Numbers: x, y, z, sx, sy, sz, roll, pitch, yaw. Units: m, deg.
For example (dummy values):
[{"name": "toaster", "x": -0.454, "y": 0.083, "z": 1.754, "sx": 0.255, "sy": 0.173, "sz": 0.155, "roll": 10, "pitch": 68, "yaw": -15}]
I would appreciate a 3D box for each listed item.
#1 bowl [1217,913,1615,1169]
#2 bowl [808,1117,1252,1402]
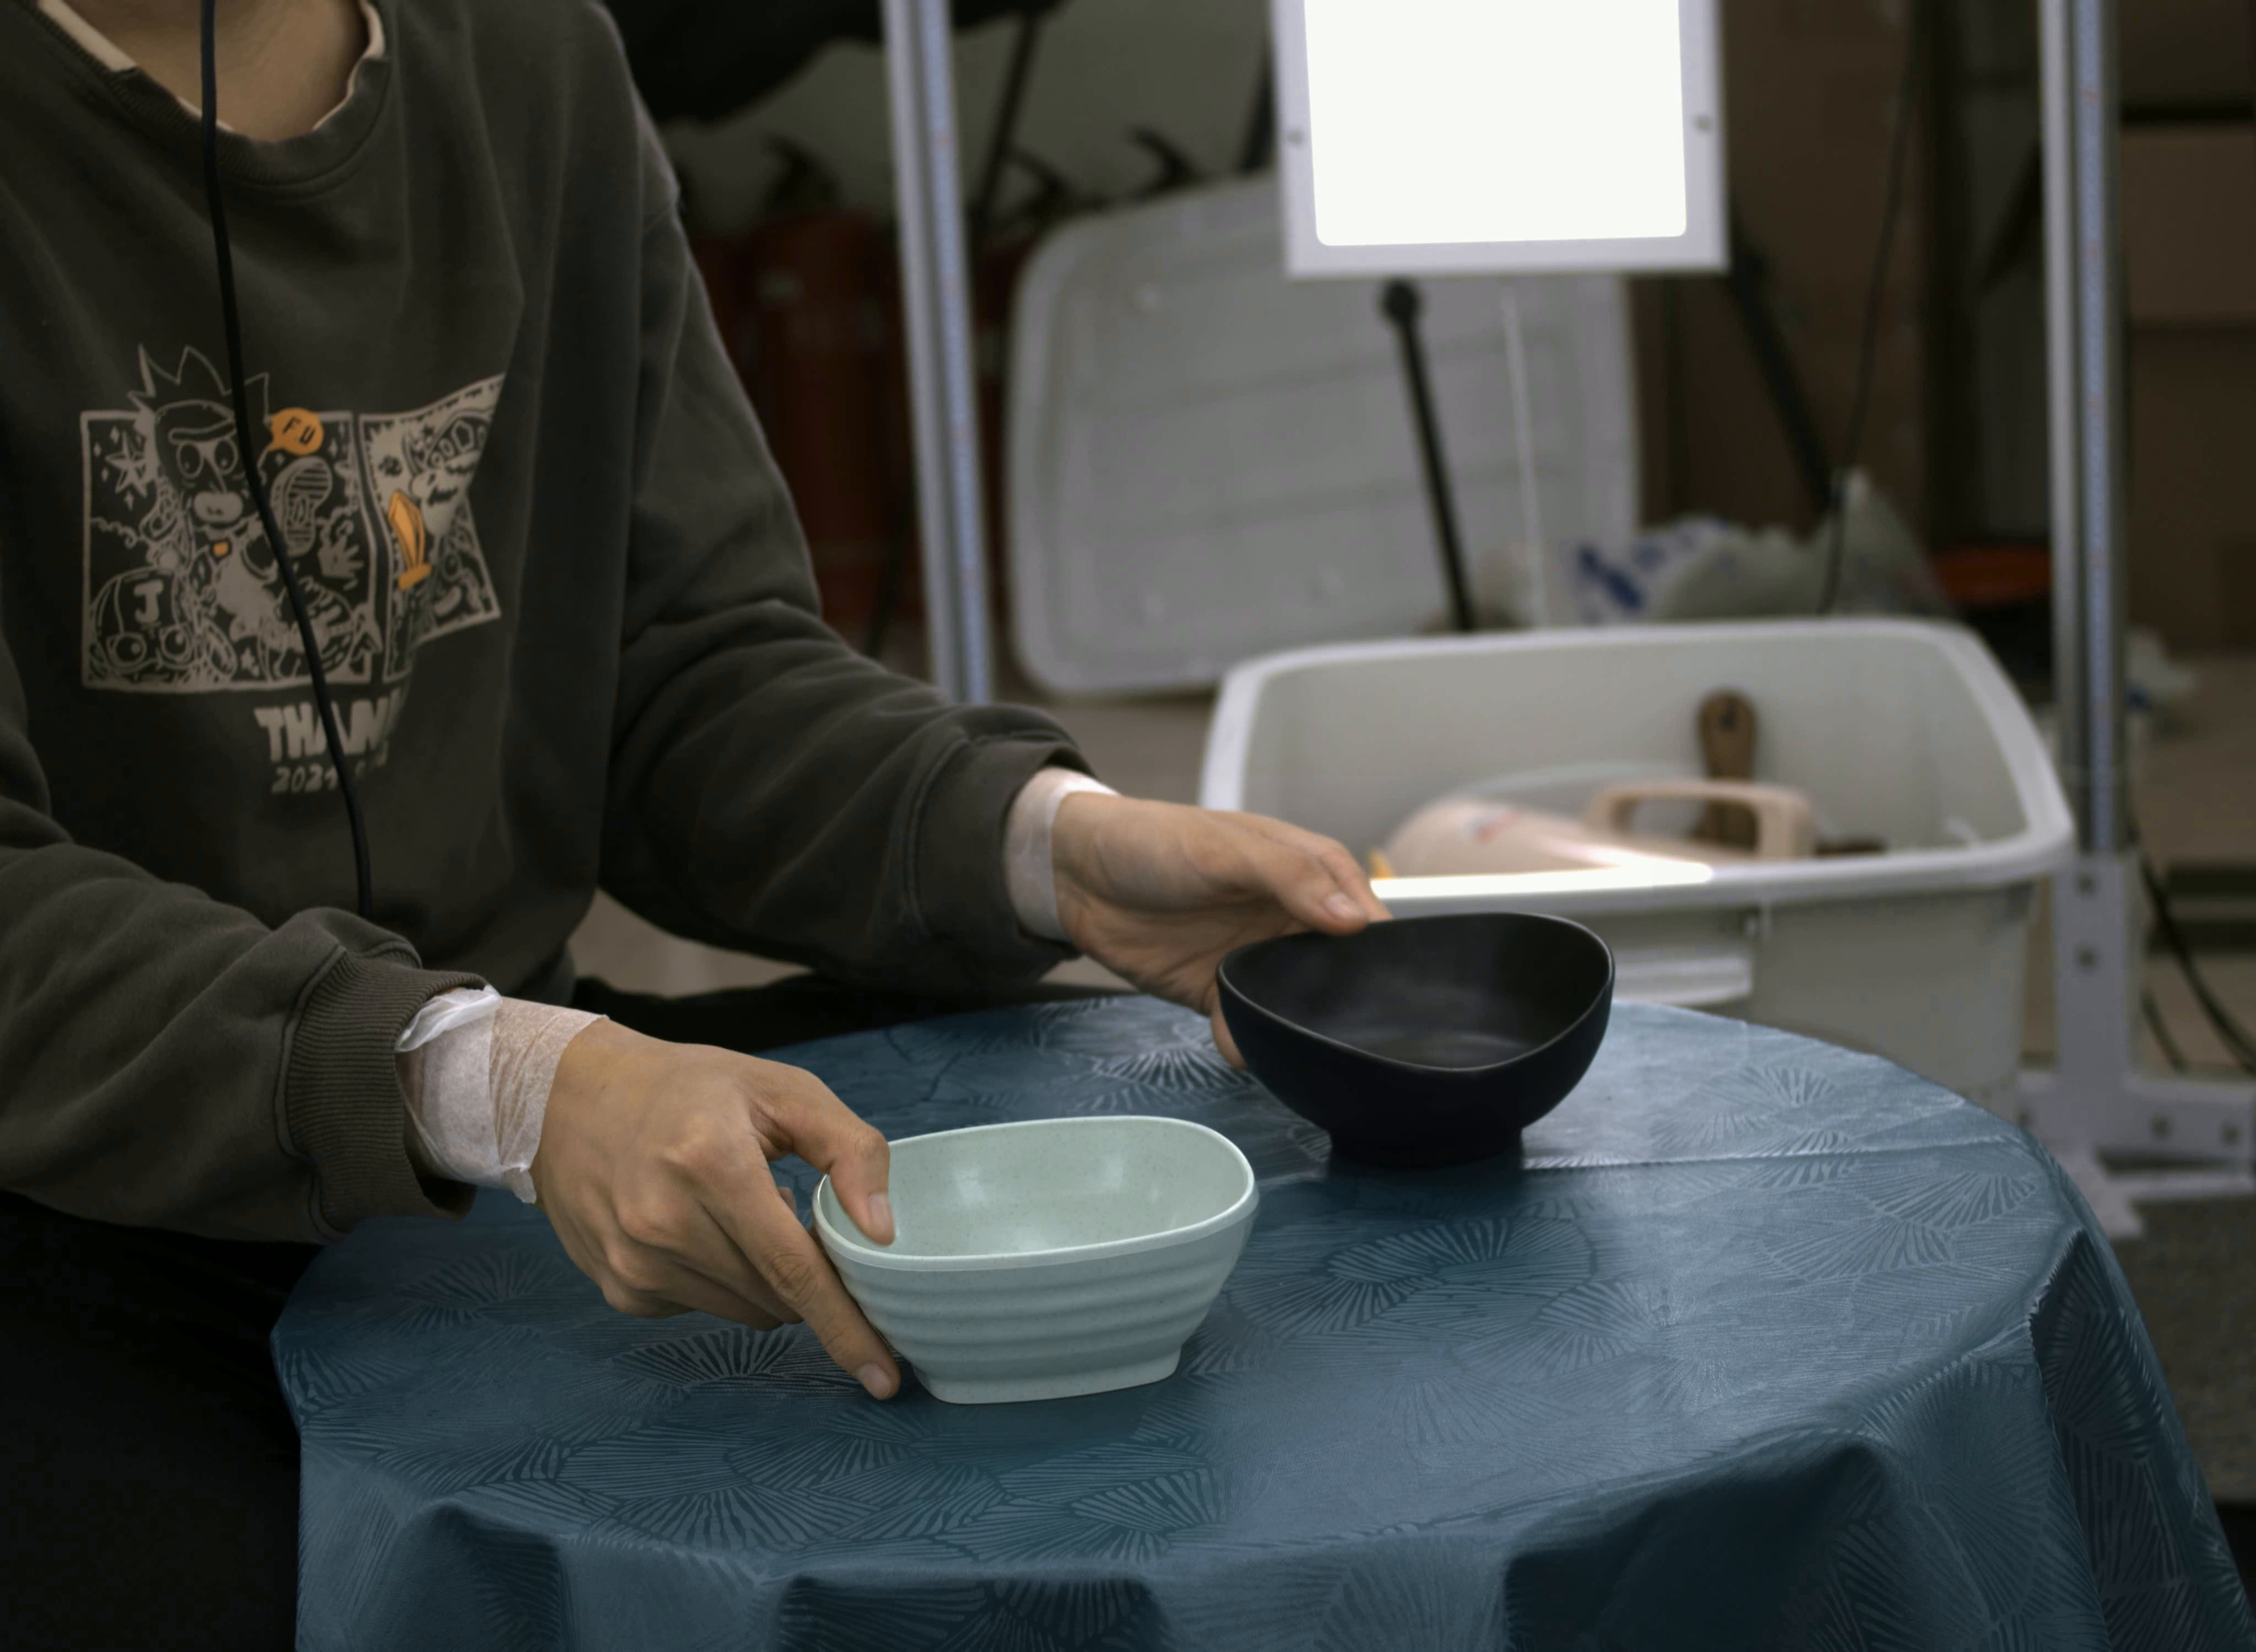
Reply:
[{"name": "bowl", "x": 0.103, "y": 0.078, "z": 1.920, "sx": 0.136, "sy": 0.067, "sz": 0.171, "roll": -7, "pitch": 16, "yaw": -11}, {"name": "bowl", "x": -0.030, "y": 0.140, "z": 1.735, "sx": 0.151, "sy": 0.059, "sz": 0.151, "roll": -3, "pitch": 14, "yaw": -1}]
